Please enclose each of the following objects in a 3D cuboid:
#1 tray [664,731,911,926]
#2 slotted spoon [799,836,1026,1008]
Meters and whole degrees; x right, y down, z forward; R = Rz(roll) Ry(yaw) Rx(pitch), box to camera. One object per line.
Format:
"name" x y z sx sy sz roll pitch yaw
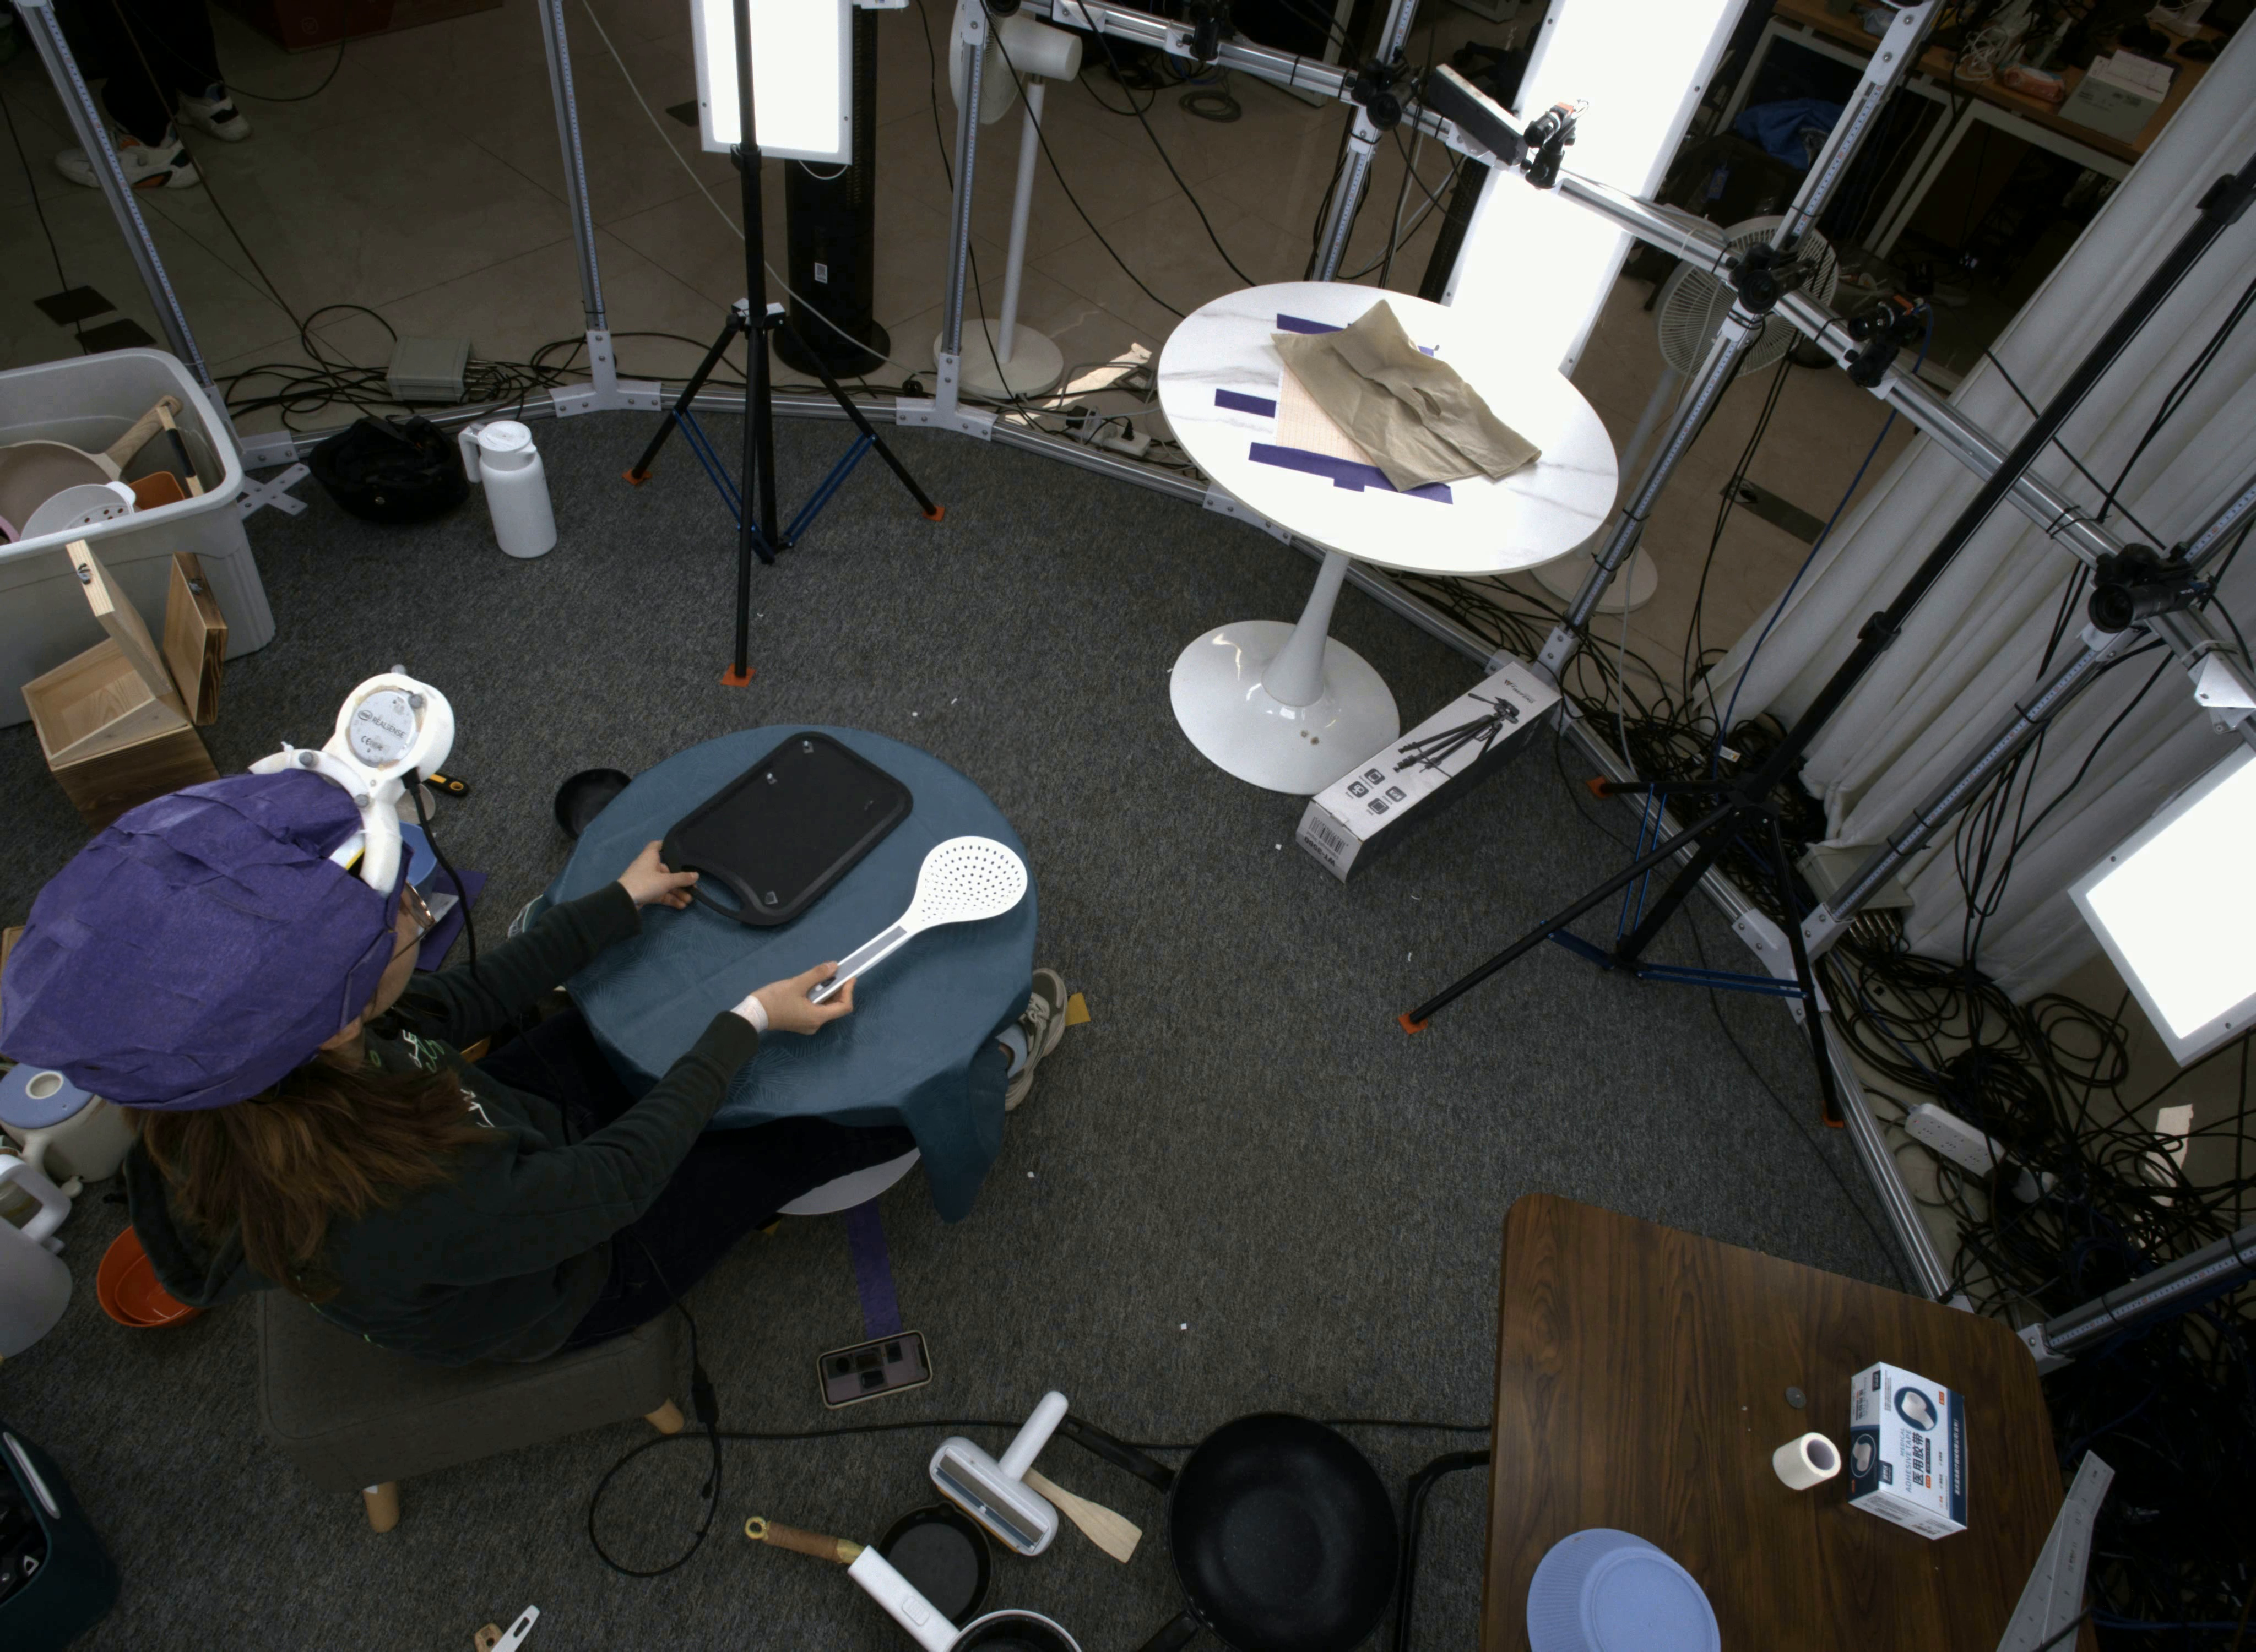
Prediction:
"tray" -0.449 -0.001 1.710 0.207 0.010 0.325 33 50 11
"slotted spoon" -0.269 0.119 1.629 0.132 0.047 0.351 37 45 20
